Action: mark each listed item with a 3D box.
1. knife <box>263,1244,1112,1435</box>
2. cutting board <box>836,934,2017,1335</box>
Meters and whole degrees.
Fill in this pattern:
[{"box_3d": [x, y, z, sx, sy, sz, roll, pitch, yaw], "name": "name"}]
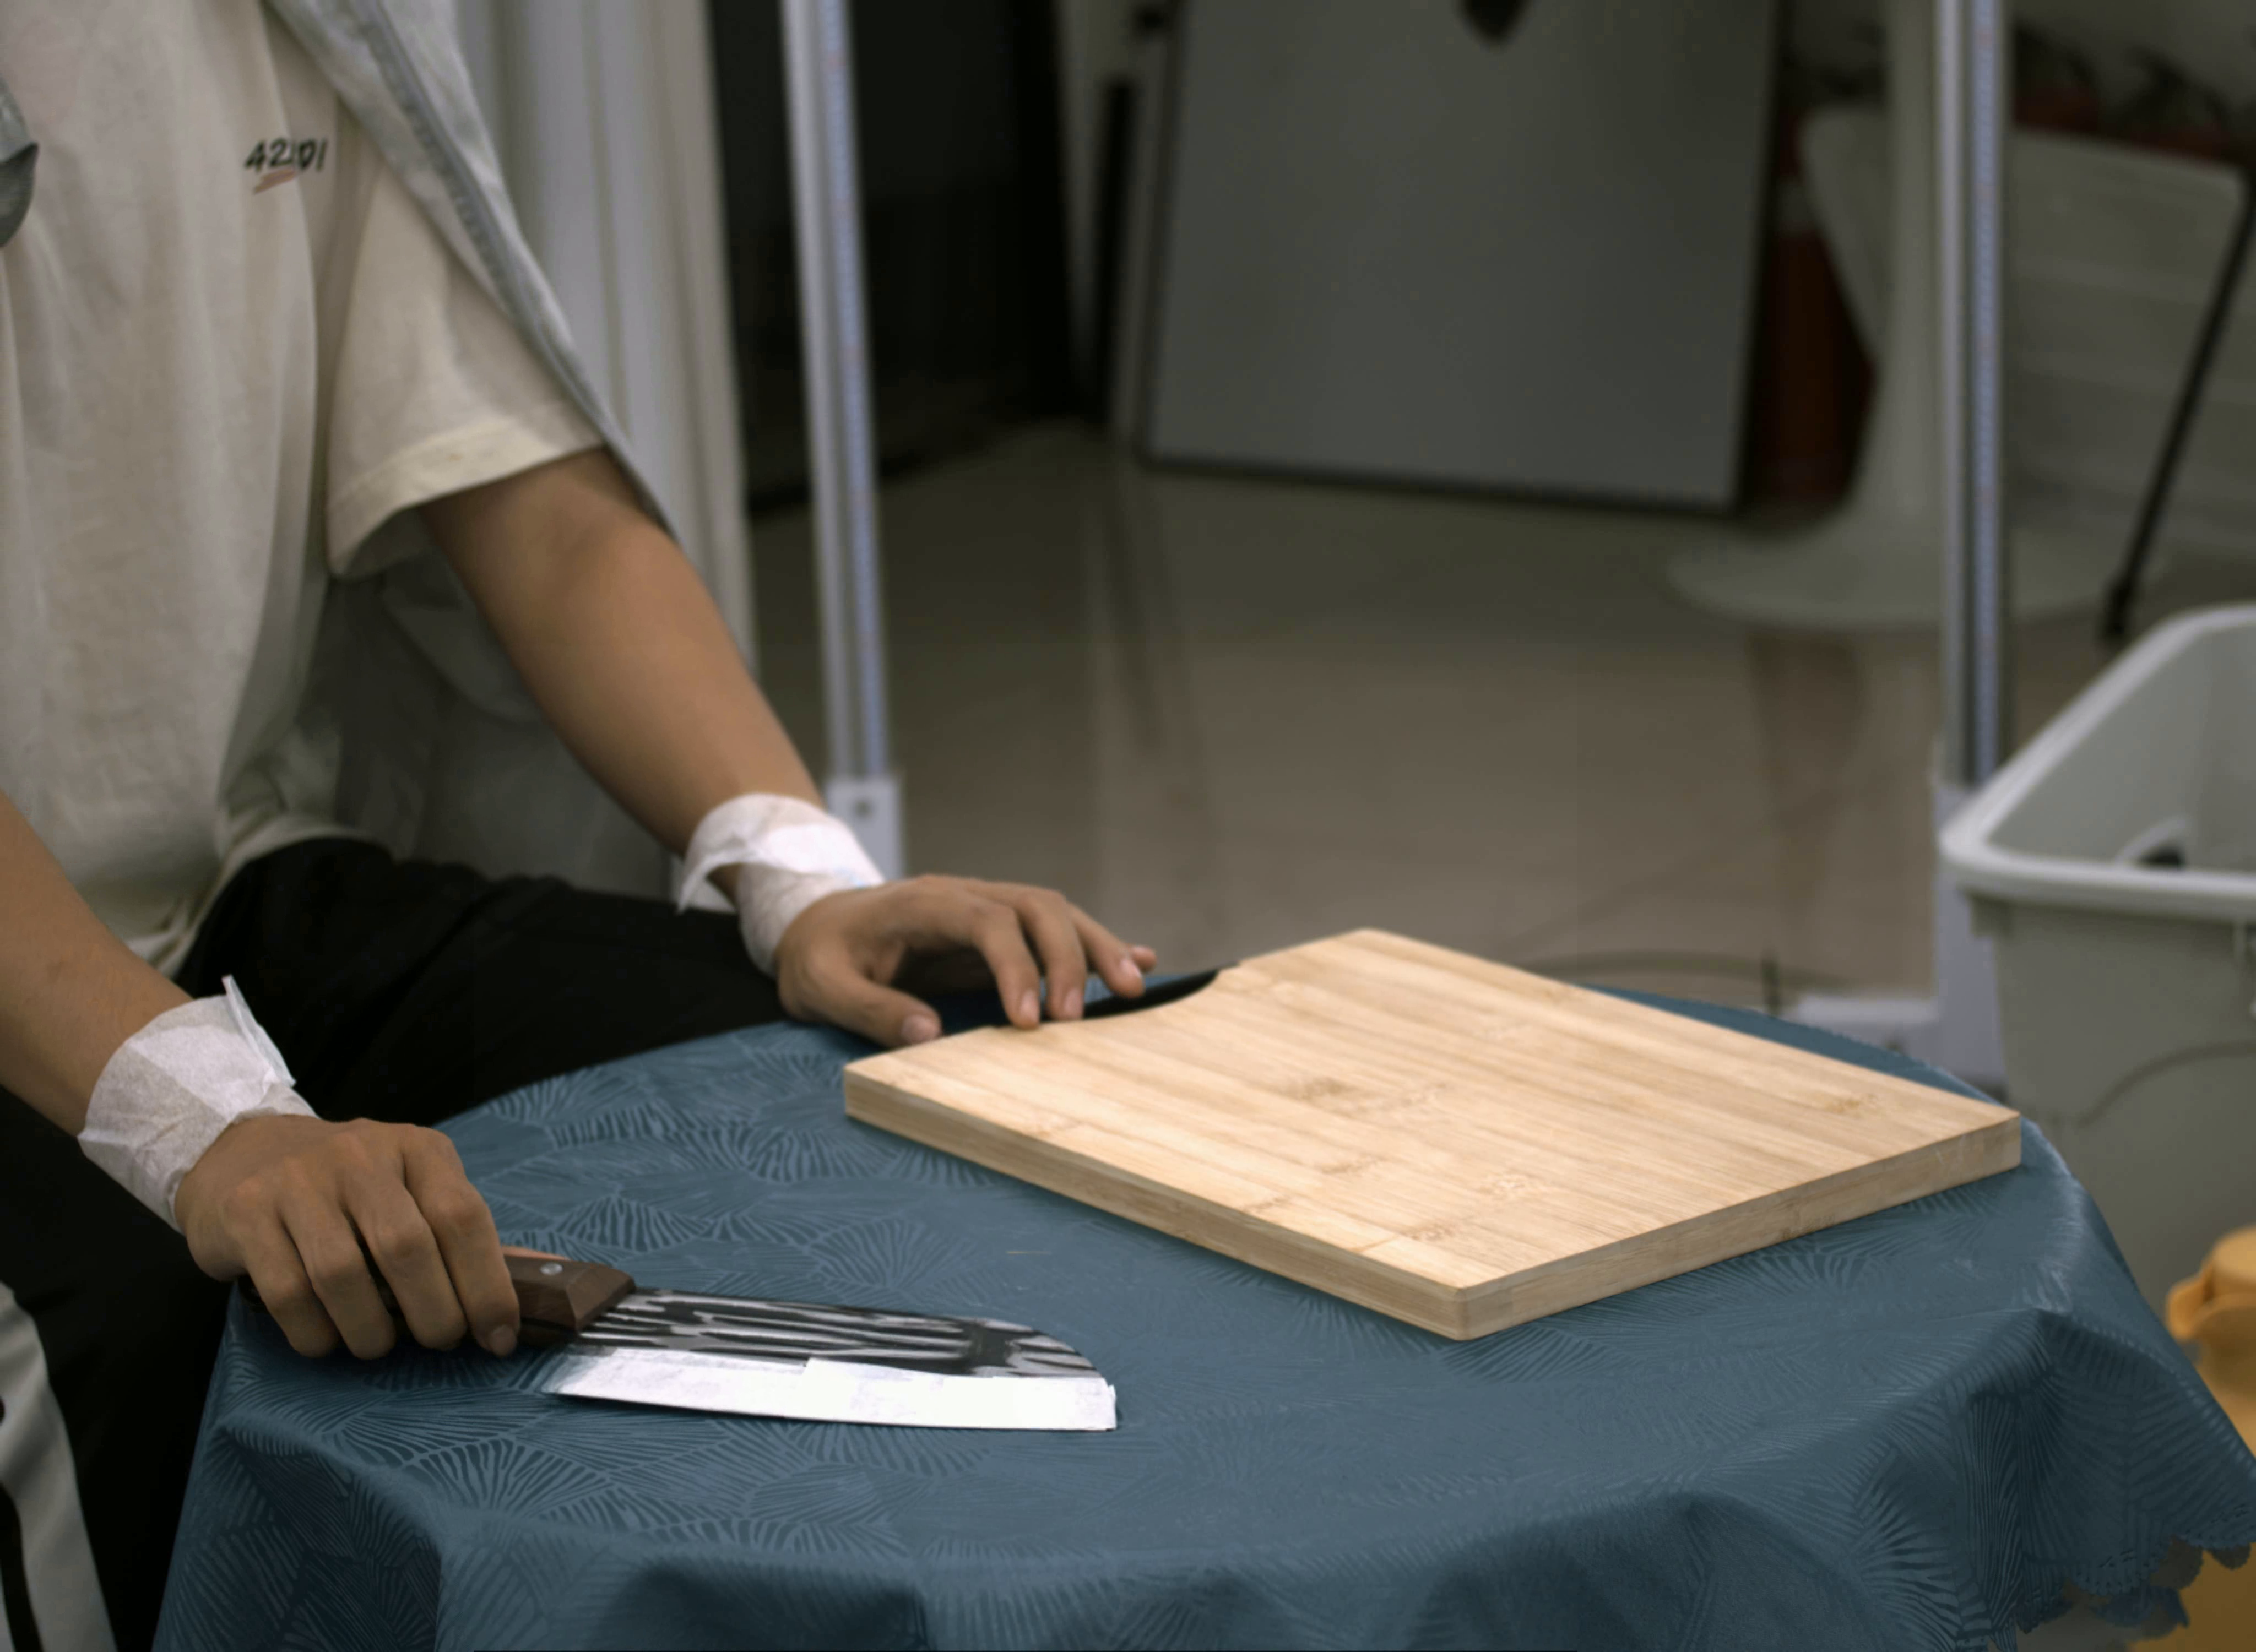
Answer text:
[{"box_3d": [-0.138, 0.158, 1.627, 0.299, 0.024, 0.067, 4, 22, 21], "name": "knife"}, {"box_3d": [0.093, 0.098, 1.811, 0.245, 0.024, 0.352, -13, 16, -35], "name": "cutting board"}]
